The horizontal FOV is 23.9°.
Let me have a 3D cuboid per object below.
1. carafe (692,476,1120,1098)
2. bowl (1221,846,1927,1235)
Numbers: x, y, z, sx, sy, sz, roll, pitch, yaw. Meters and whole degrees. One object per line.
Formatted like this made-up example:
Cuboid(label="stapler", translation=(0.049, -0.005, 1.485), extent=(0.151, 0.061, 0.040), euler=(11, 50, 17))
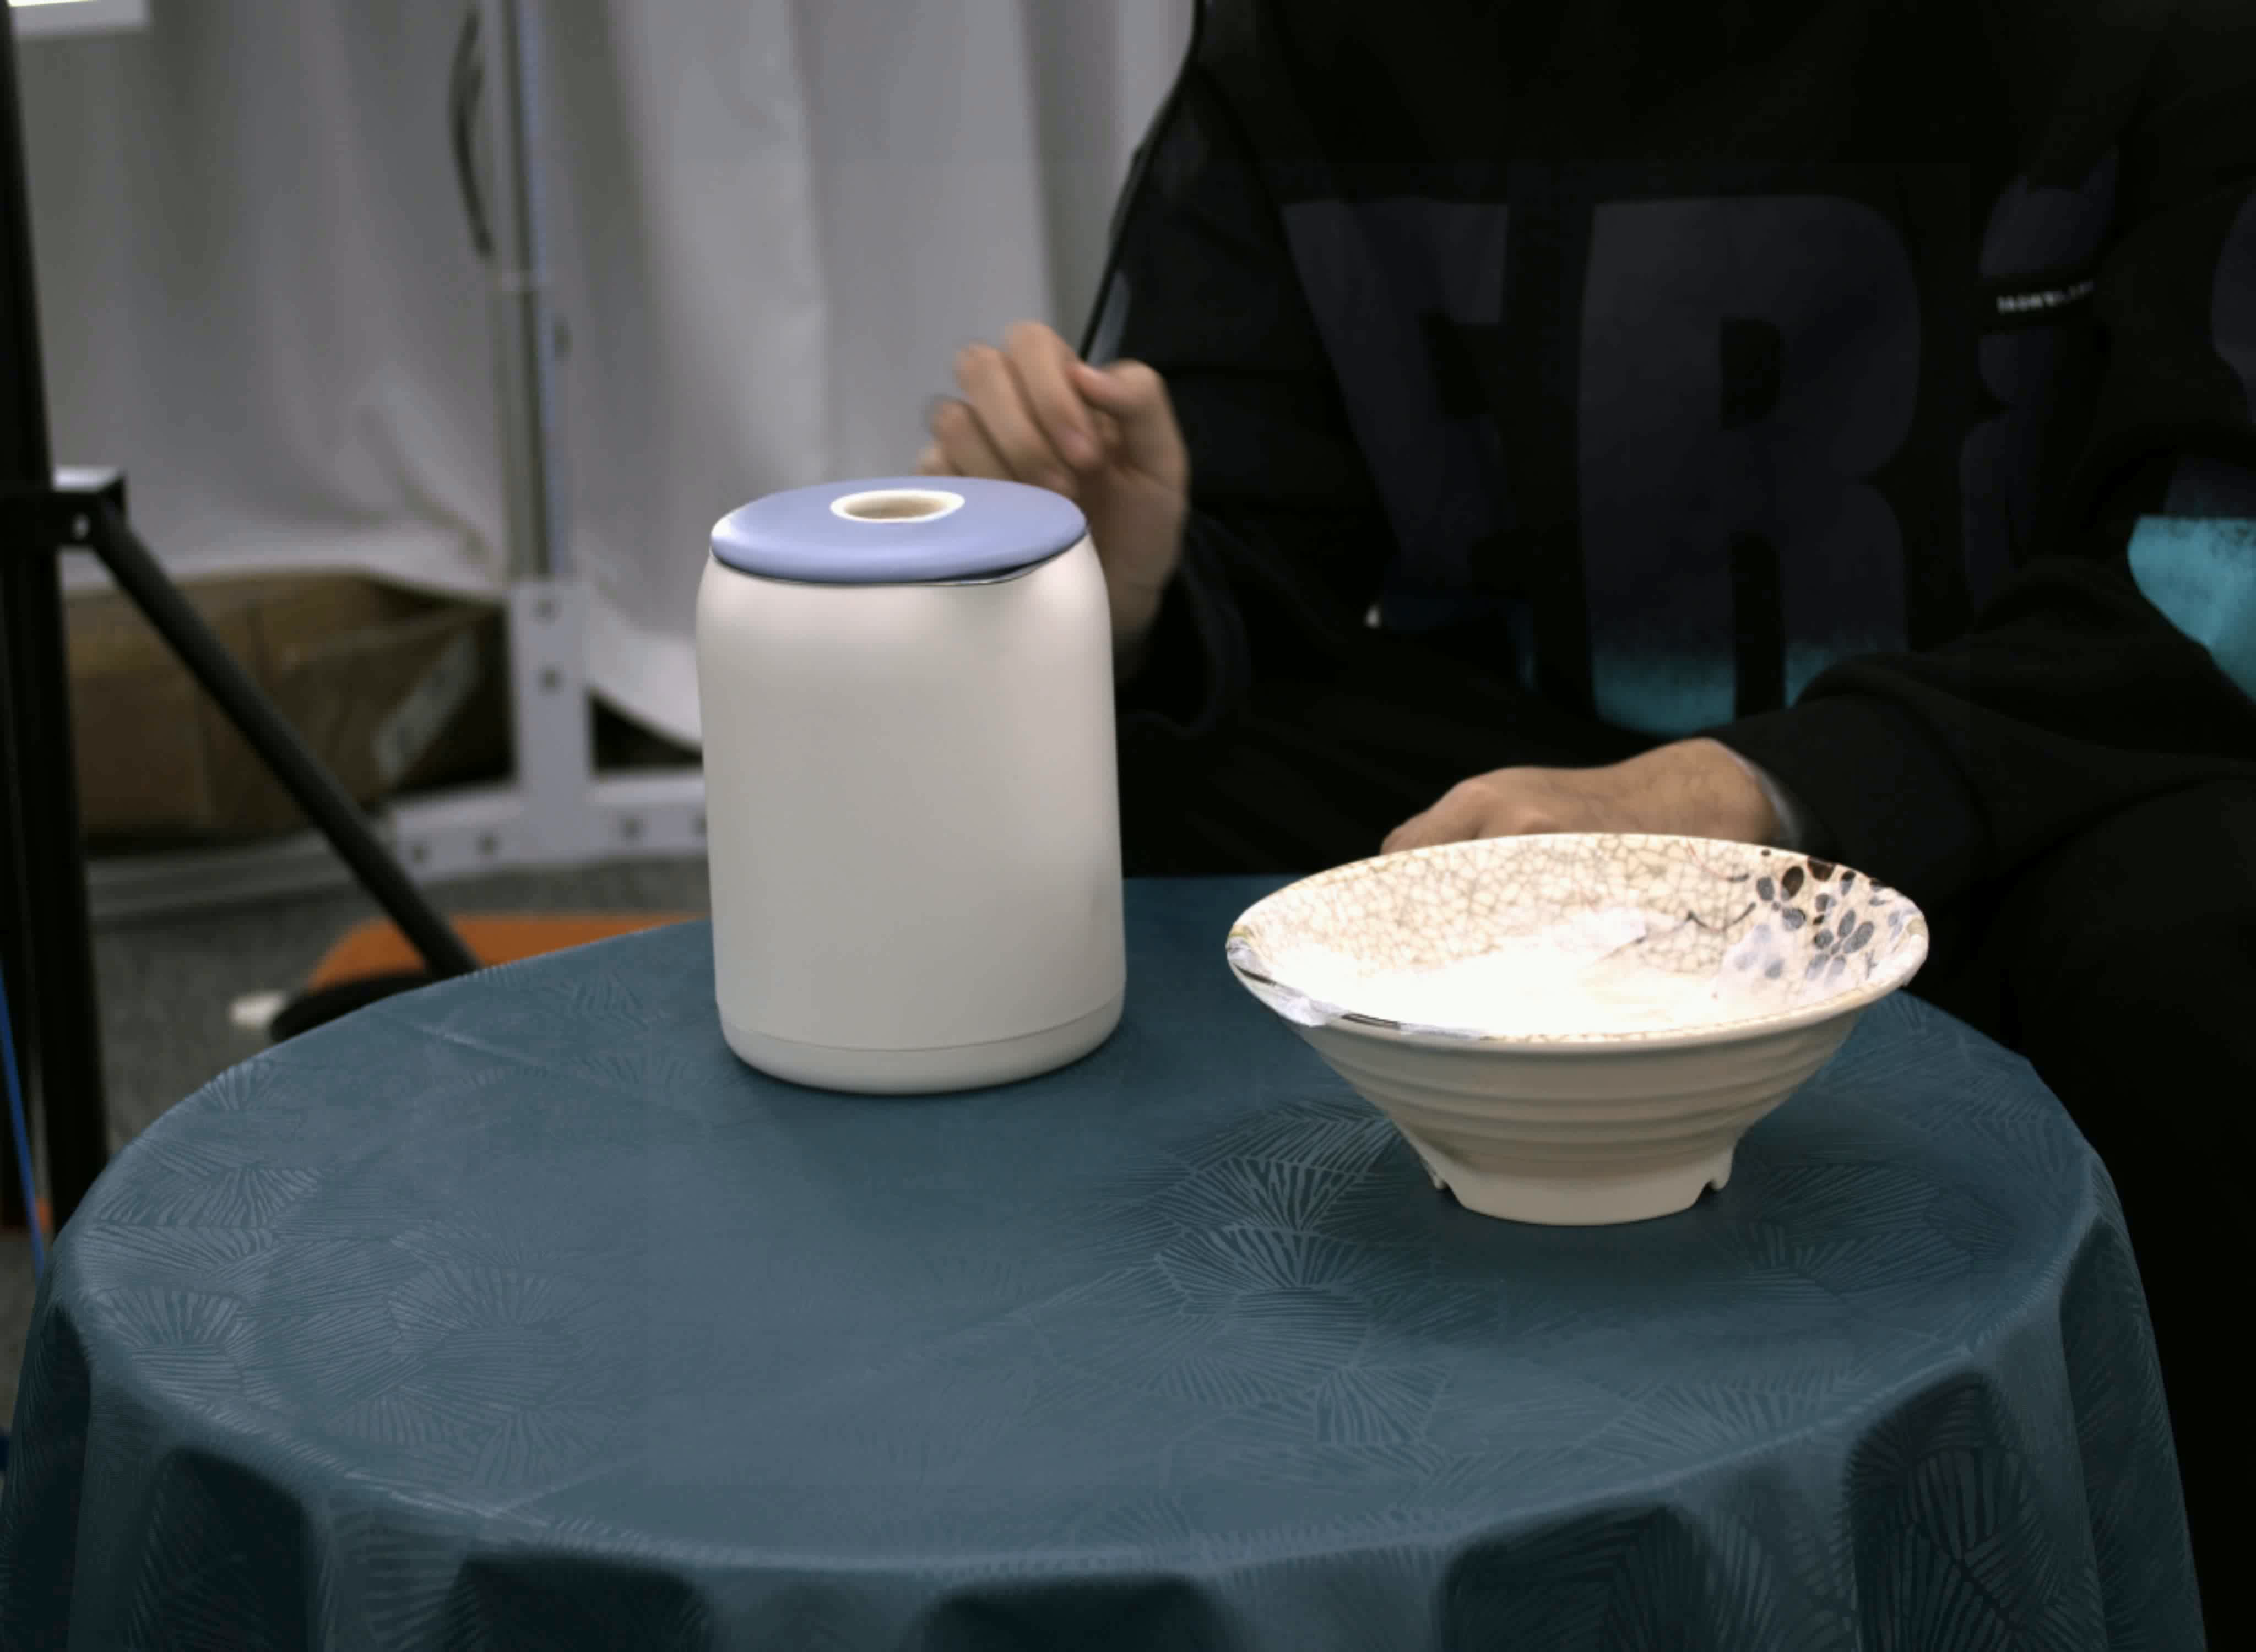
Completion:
Cuboid(label="carafe", translation=(-0.082, -0.018, 1.707), extent=(0.129, 0.182, 0.195), euler=(-9, 14, -29))
Cuboid(label="bowl", translation=(0.128, 0.069, 1.537), extent=(0.203, 0.078, 0.205), euler=(-1, 14, -1))
